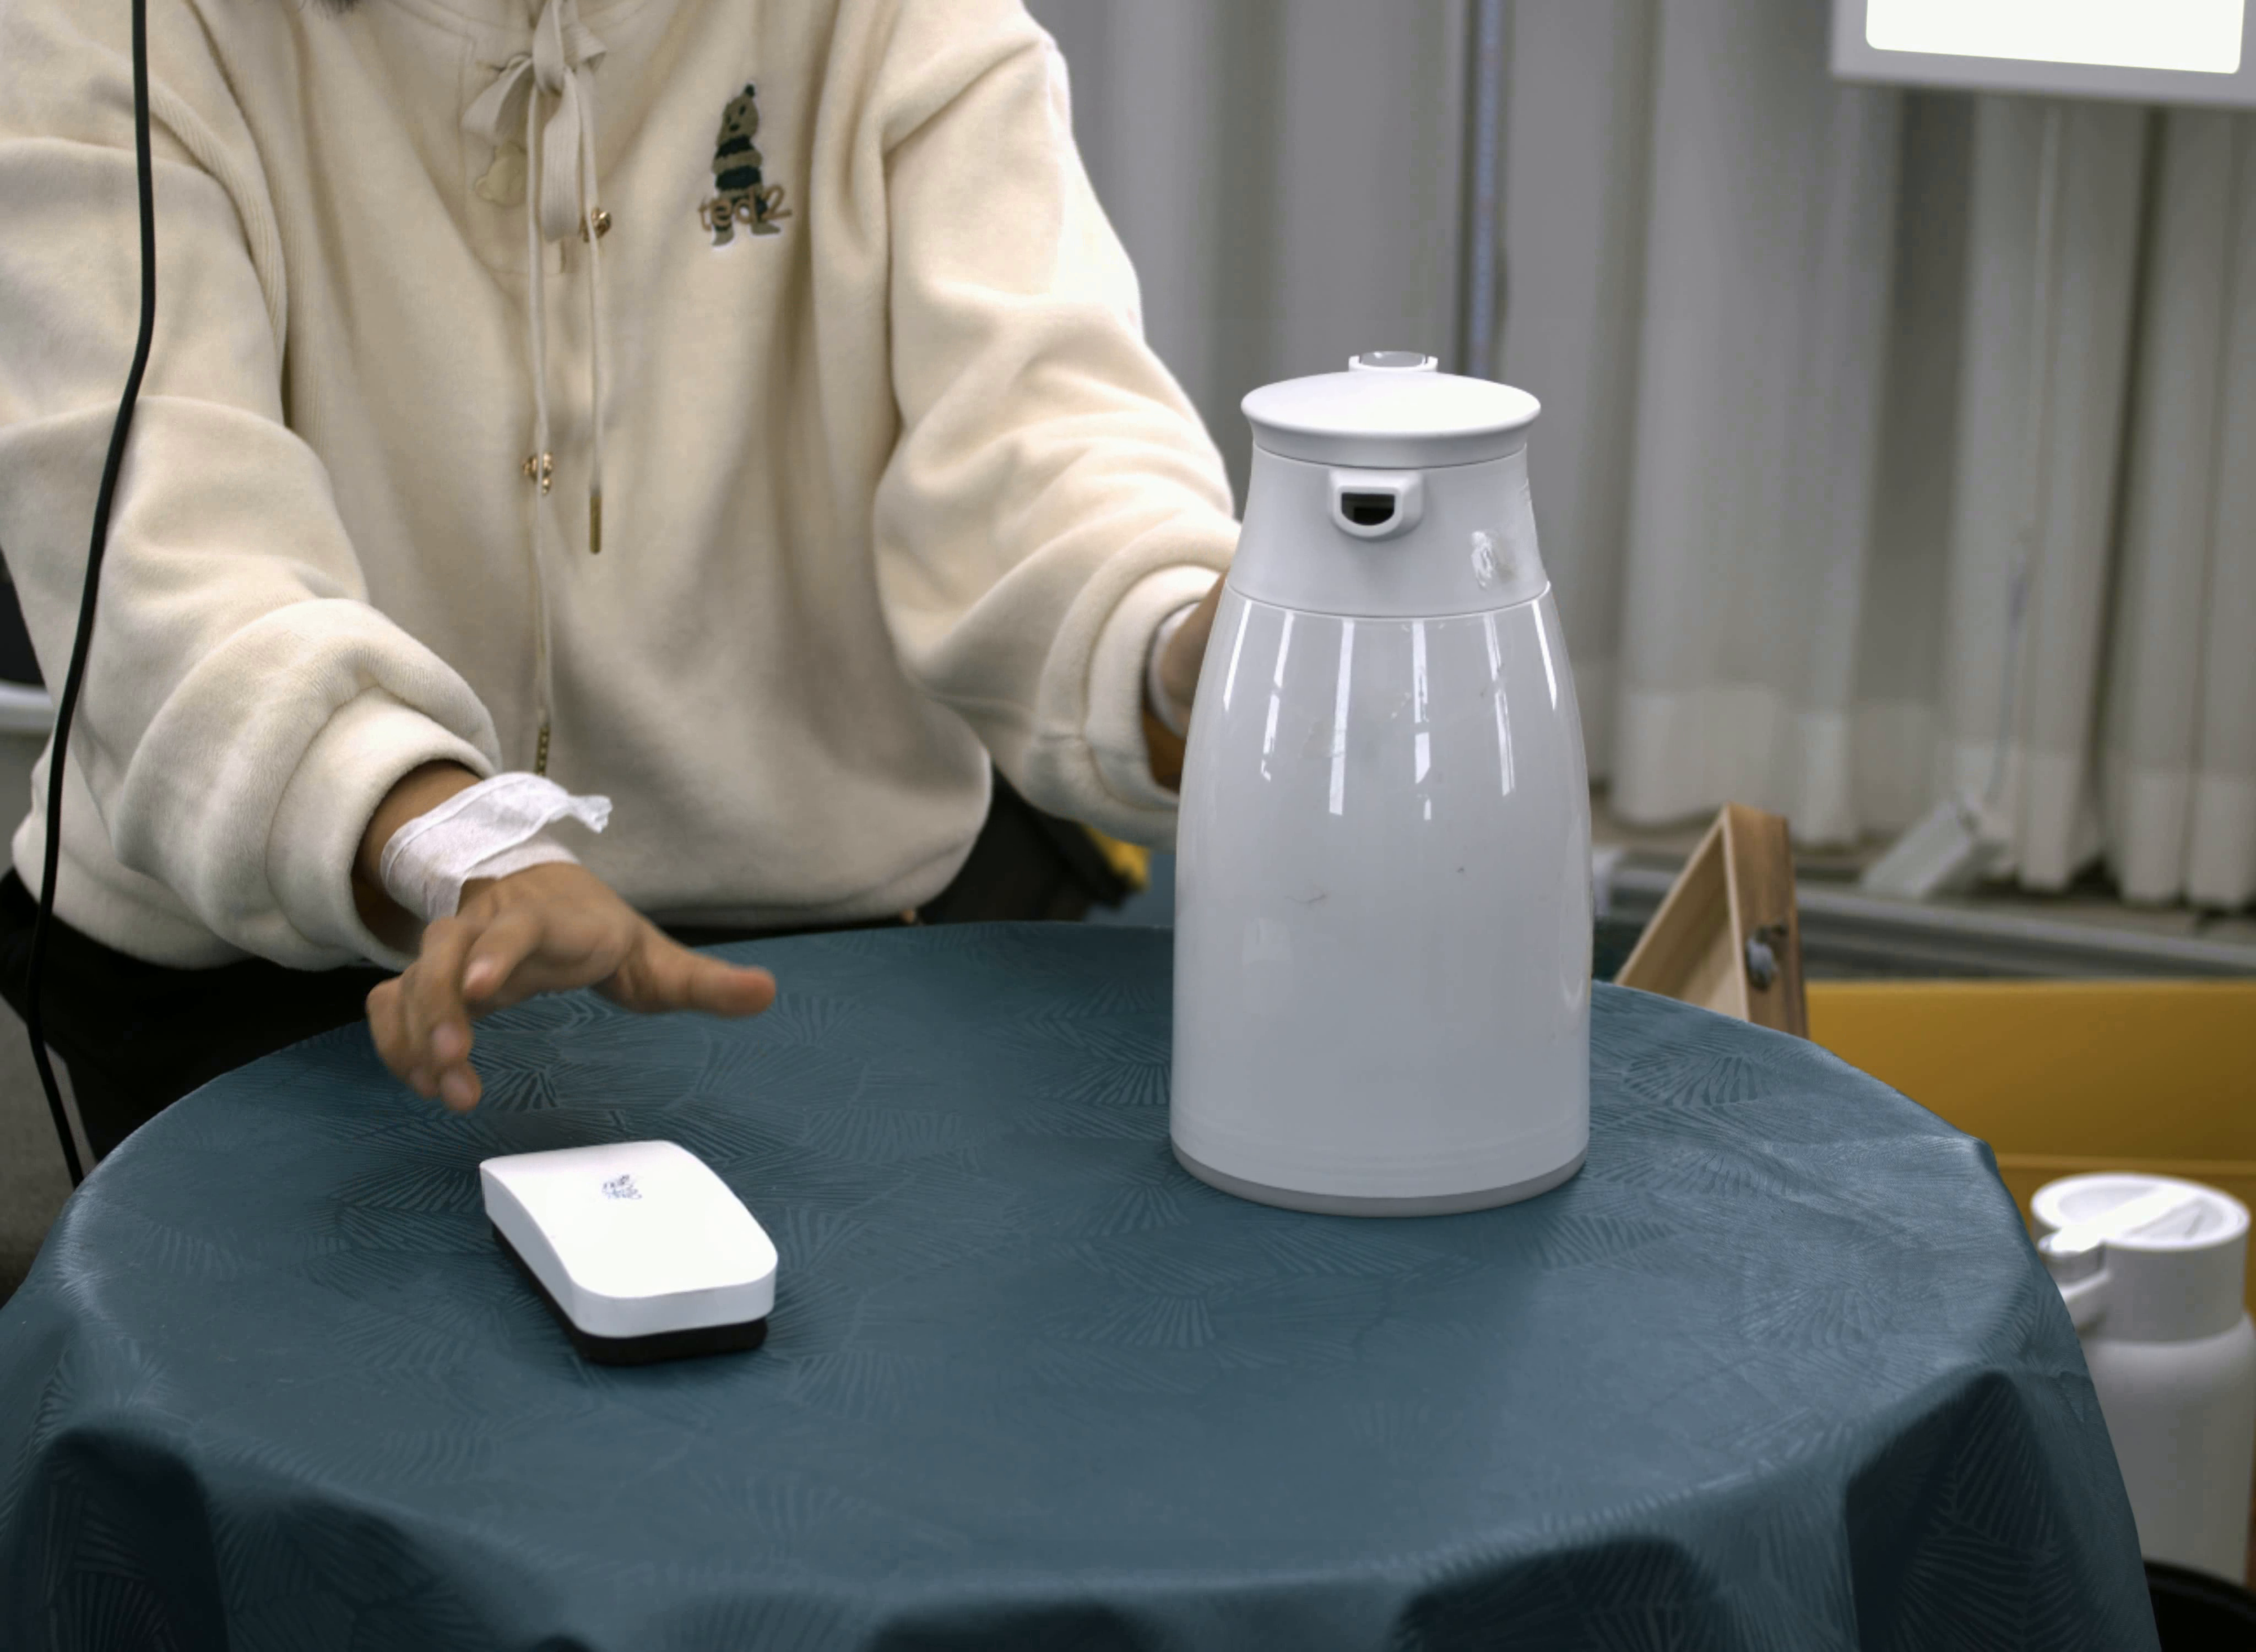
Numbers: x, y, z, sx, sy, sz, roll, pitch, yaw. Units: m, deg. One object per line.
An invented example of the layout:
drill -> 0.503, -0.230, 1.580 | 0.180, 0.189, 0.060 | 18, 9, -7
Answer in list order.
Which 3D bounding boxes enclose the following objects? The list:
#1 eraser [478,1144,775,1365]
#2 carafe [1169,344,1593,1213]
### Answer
eraser -> -0.146, 0.120, 1.530 | 0.063, 0.035, 0.130 | -3, 16, -21
carafe -> 0.081, -0.023, 1.645 | 0.132, 0.250, 0.167 | 2, 15, 6
